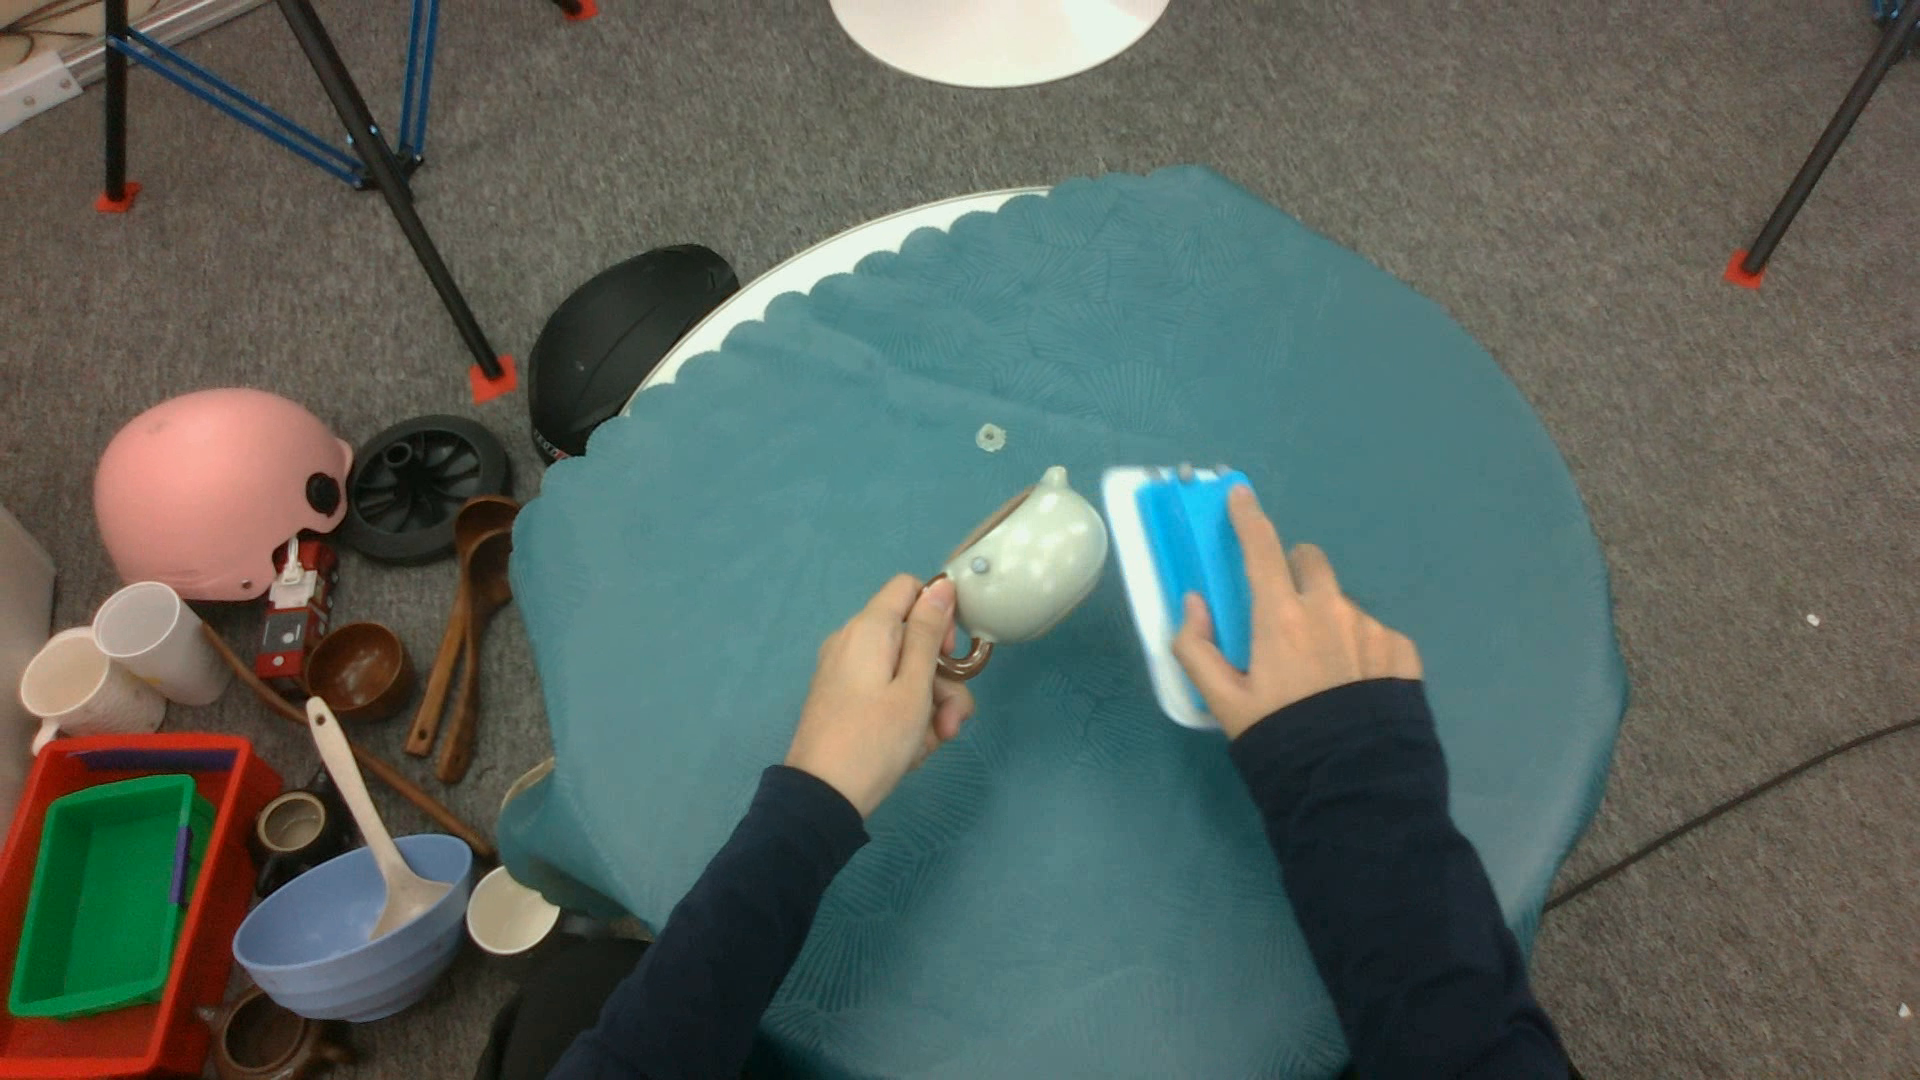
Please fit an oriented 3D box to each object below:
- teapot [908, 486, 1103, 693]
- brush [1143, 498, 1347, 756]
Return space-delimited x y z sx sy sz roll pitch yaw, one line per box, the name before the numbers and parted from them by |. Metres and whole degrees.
teapot | 0.025 0.028 0.706 0.128 0.091 0.059 -42 98 -29
brush | 0.143 0.036 0.695 0.084 0.055 0.144 -5 54 -6
